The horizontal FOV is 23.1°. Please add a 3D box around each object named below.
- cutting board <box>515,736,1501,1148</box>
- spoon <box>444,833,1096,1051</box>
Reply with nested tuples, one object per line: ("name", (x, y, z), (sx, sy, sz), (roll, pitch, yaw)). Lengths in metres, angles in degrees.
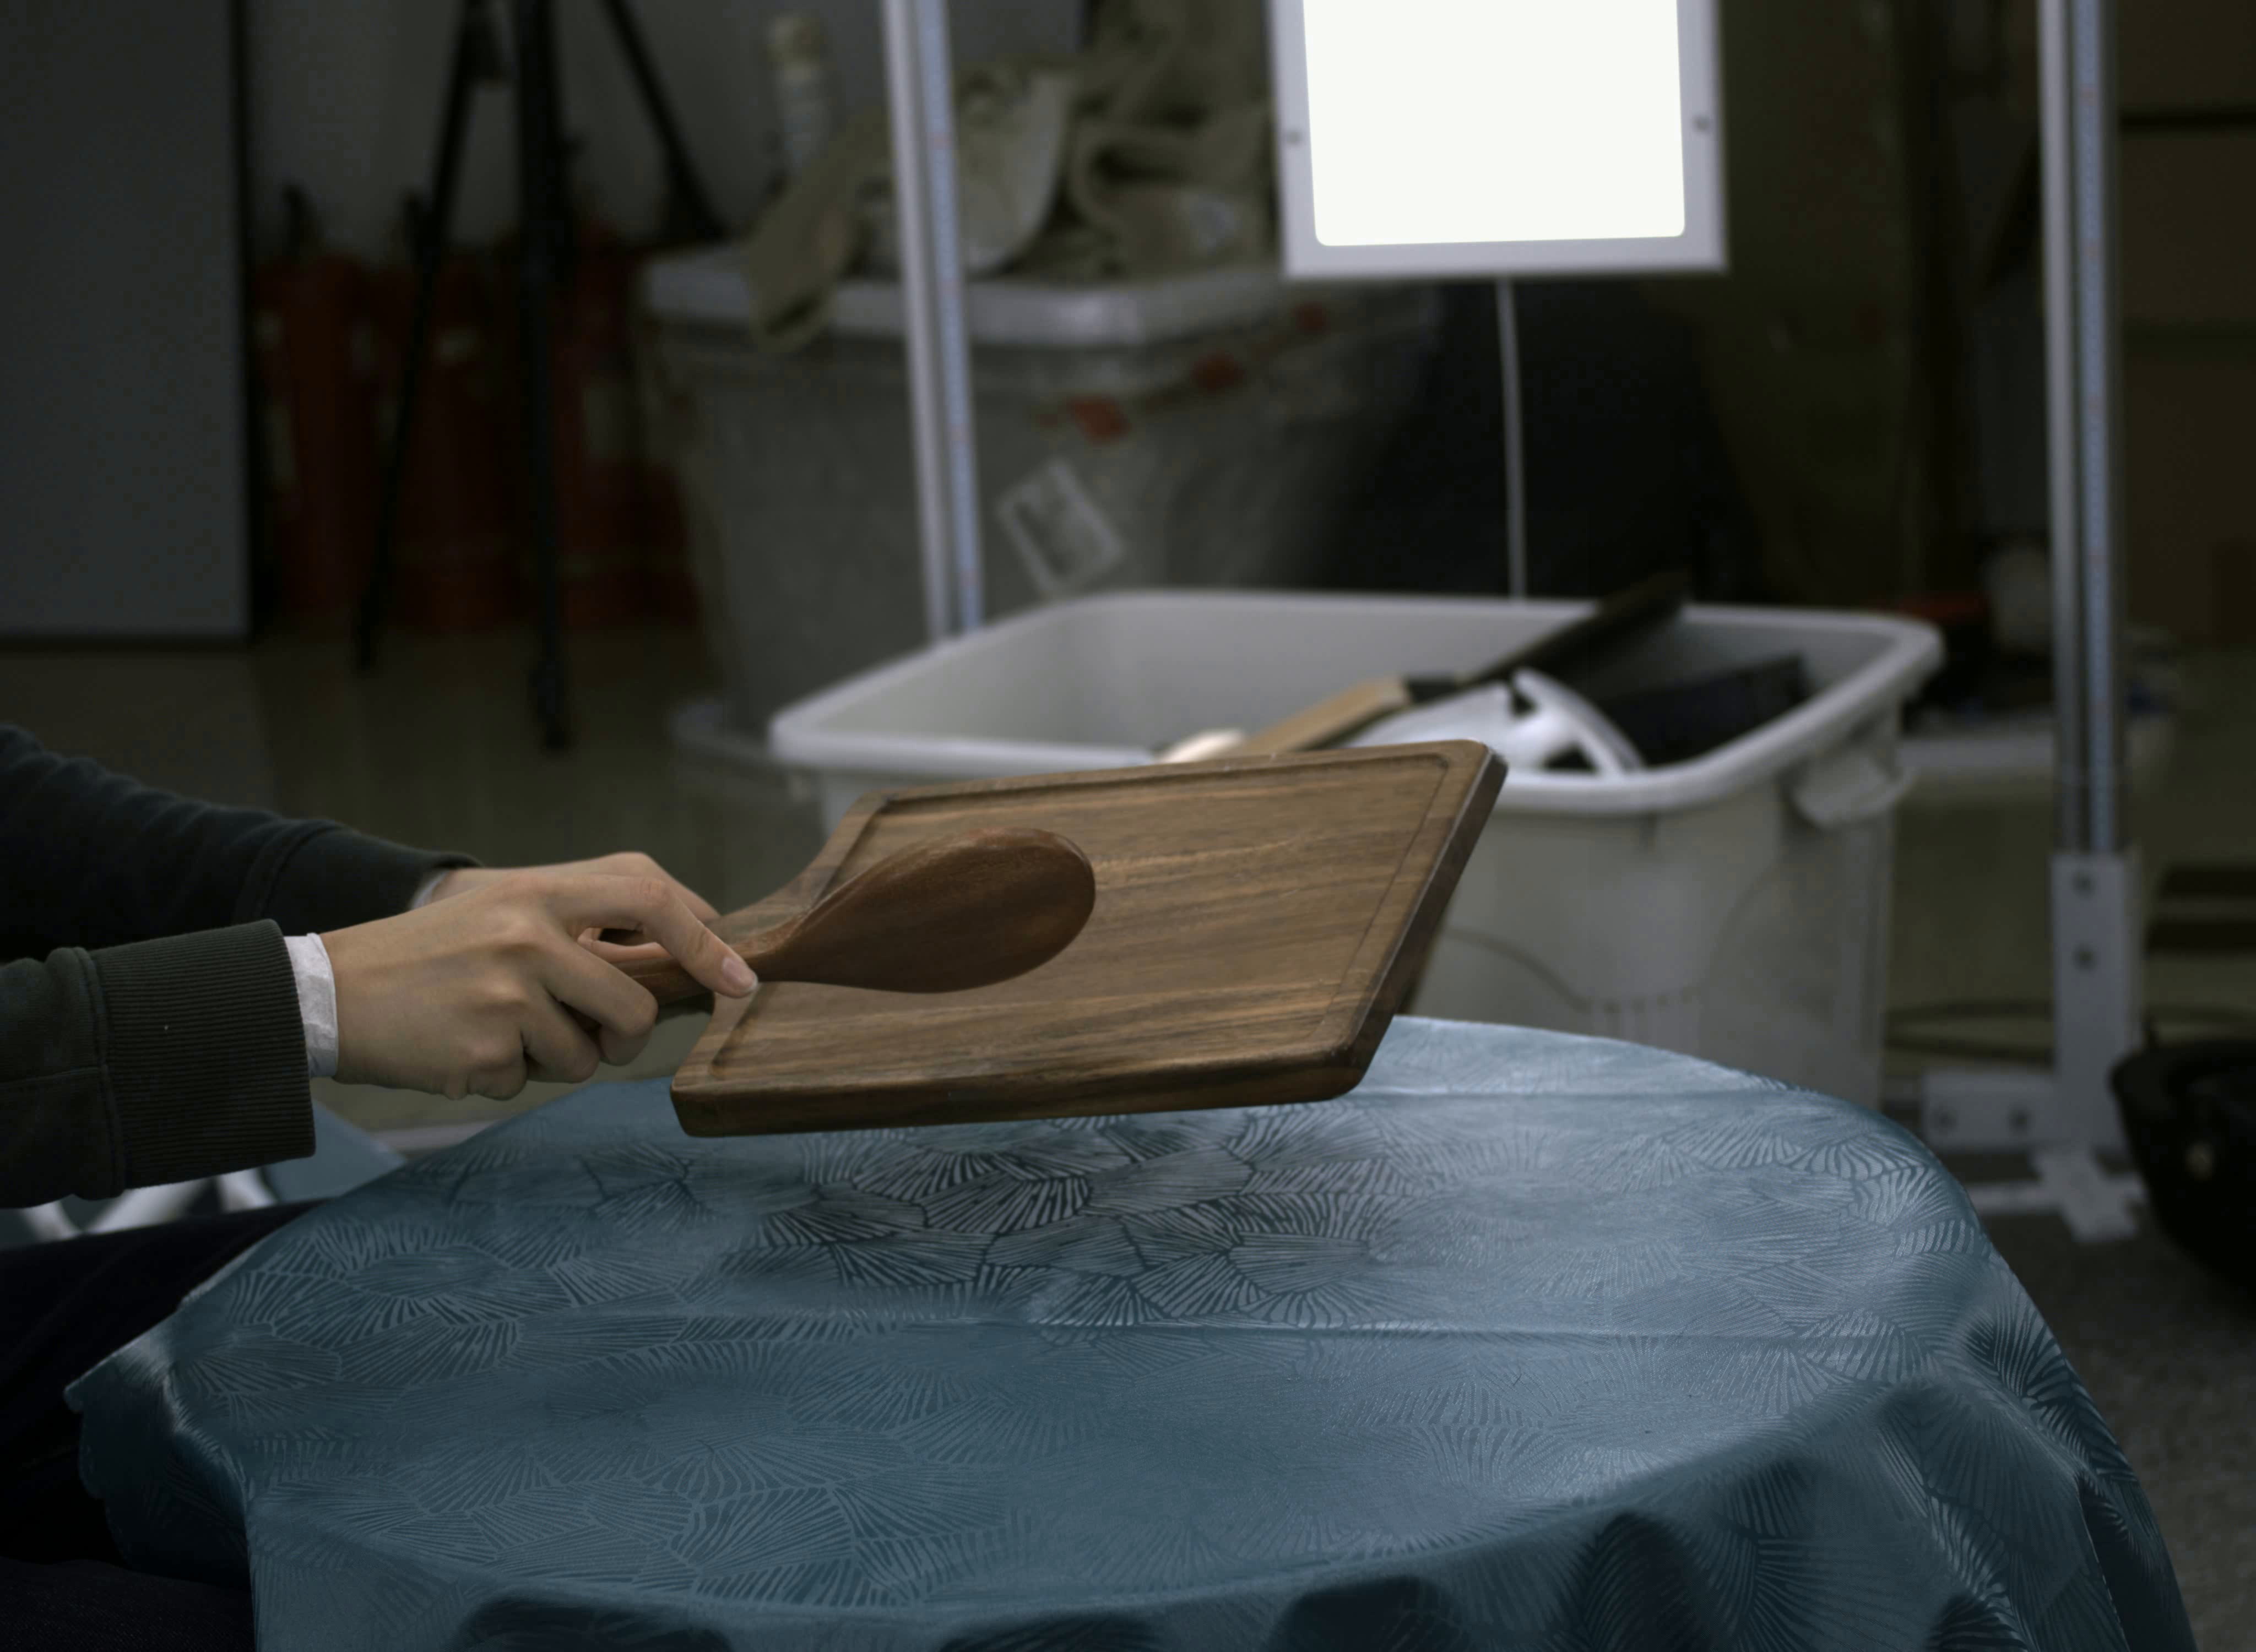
("cutting board", (-0.056, 0.042, 1.907), (0.358, 0.023, 0.198), (-5, 32, 26))
("spoon", (-0.115, 0.043, 1.785), (0.215, 0.075, 0.017), (-11, 54, -2))
